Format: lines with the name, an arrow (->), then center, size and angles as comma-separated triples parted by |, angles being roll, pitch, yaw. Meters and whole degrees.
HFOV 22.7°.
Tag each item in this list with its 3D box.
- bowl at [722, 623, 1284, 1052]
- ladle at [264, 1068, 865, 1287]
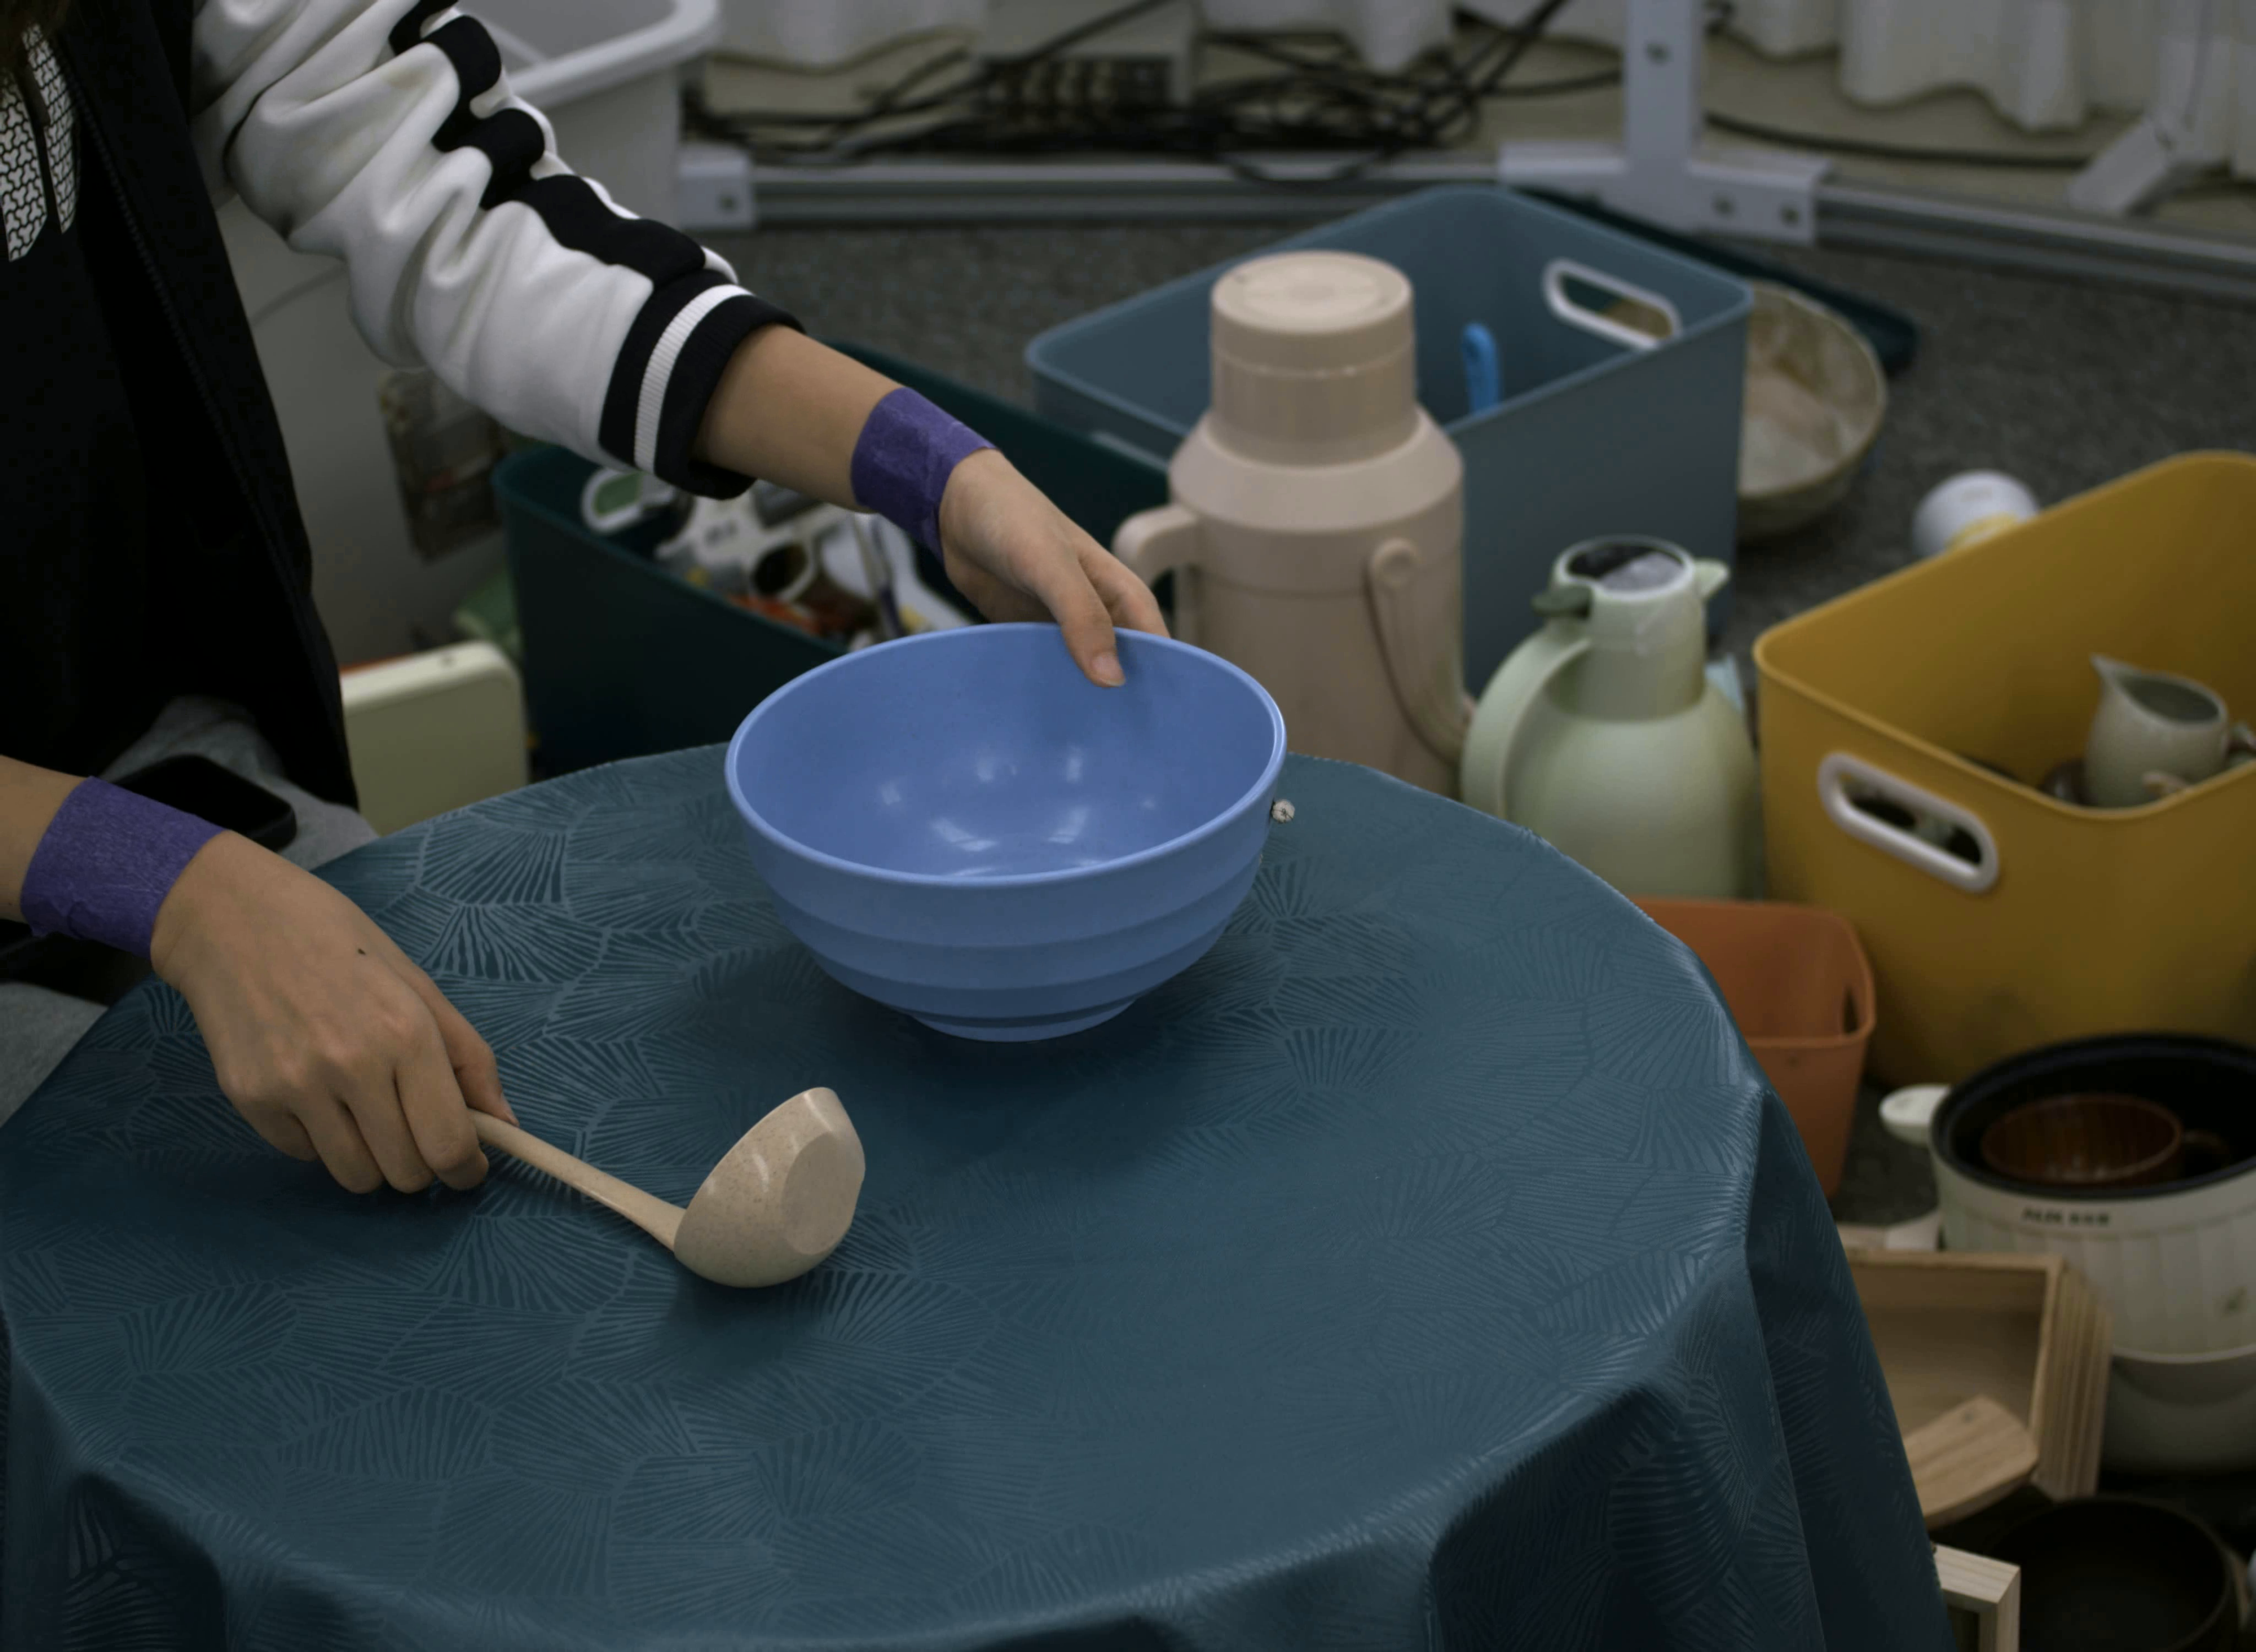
bowl -> -0.041, 0.016, 1.974 | 0.195, 0.094, 0.199 | -3, 29, 2
ladle -> -0.196, 0.089, 1.863 | 0.253, 0.072, 0.073 | 17, 31, 33
